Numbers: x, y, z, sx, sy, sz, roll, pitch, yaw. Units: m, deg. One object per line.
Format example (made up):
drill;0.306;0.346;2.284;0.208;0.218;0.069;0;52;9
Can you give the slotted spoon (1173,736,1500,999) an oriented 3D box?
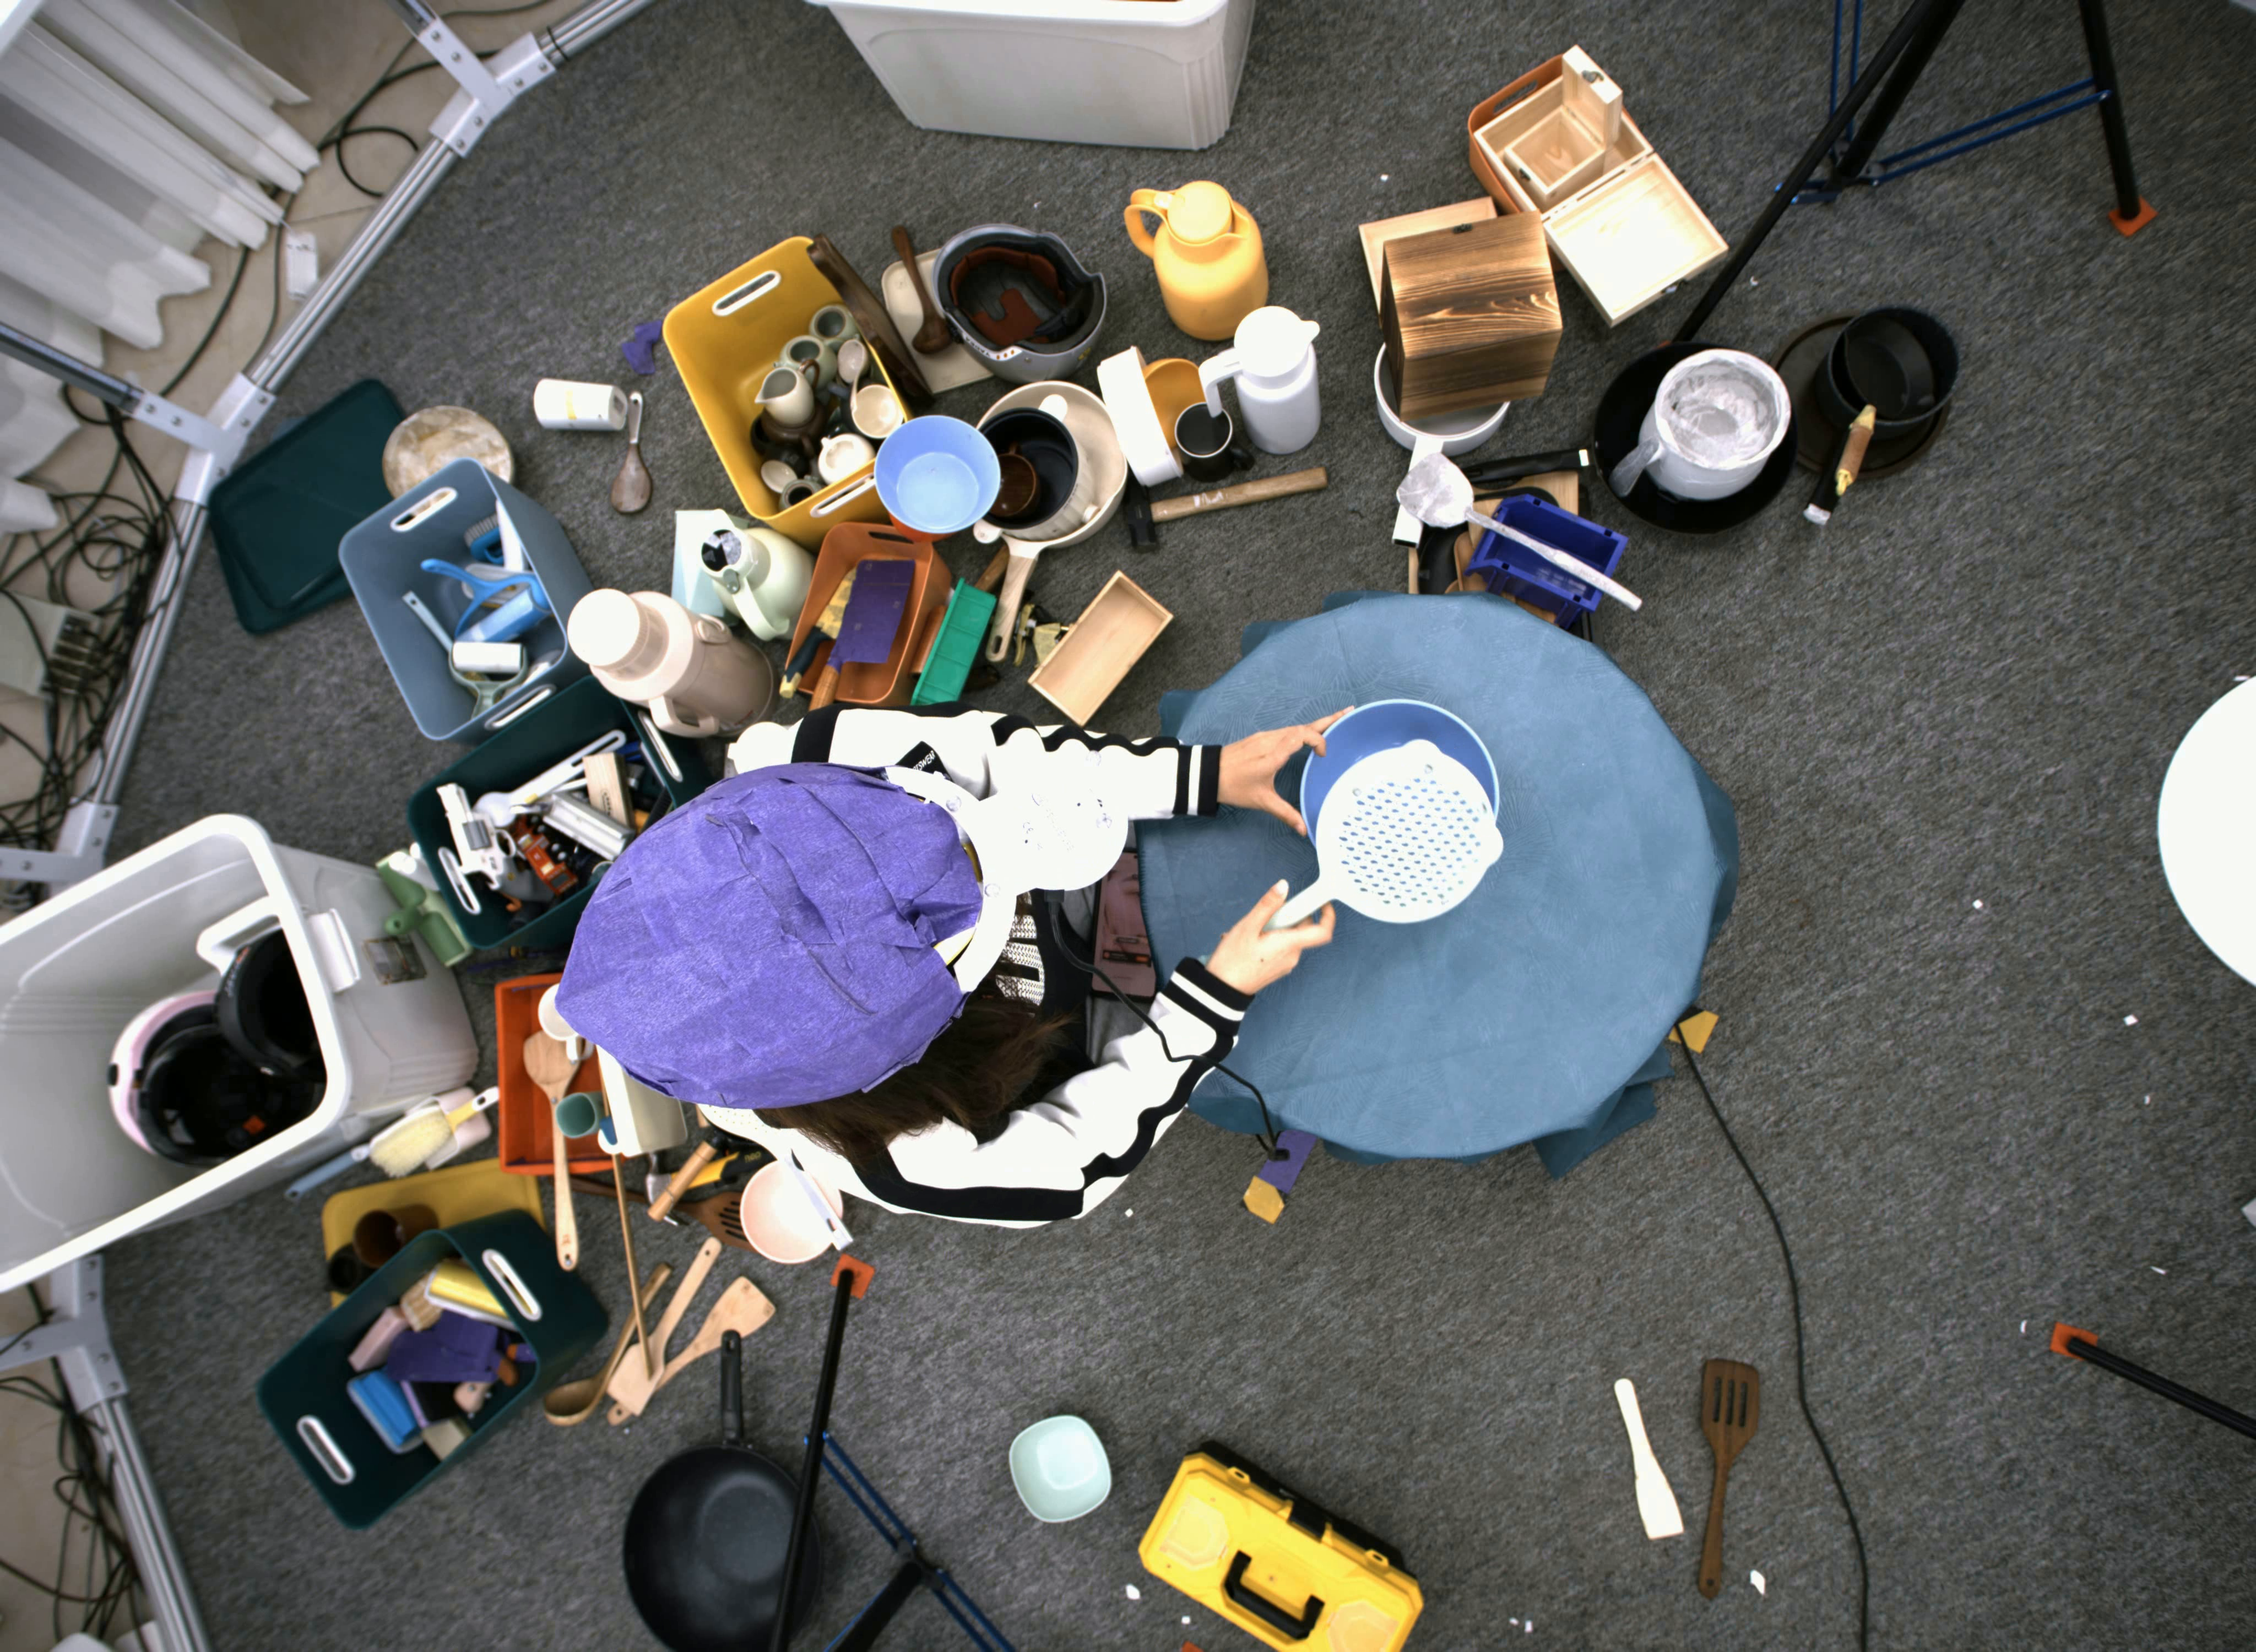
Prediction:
slotted spoon;0.188;0.061;1.349;0.360;0.076;0.167;-33;67;4

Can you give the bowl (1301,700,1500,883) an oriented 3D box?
bowl;0.278;-0.026;1.417;0.197;0.095;0.196;-1;87;11
